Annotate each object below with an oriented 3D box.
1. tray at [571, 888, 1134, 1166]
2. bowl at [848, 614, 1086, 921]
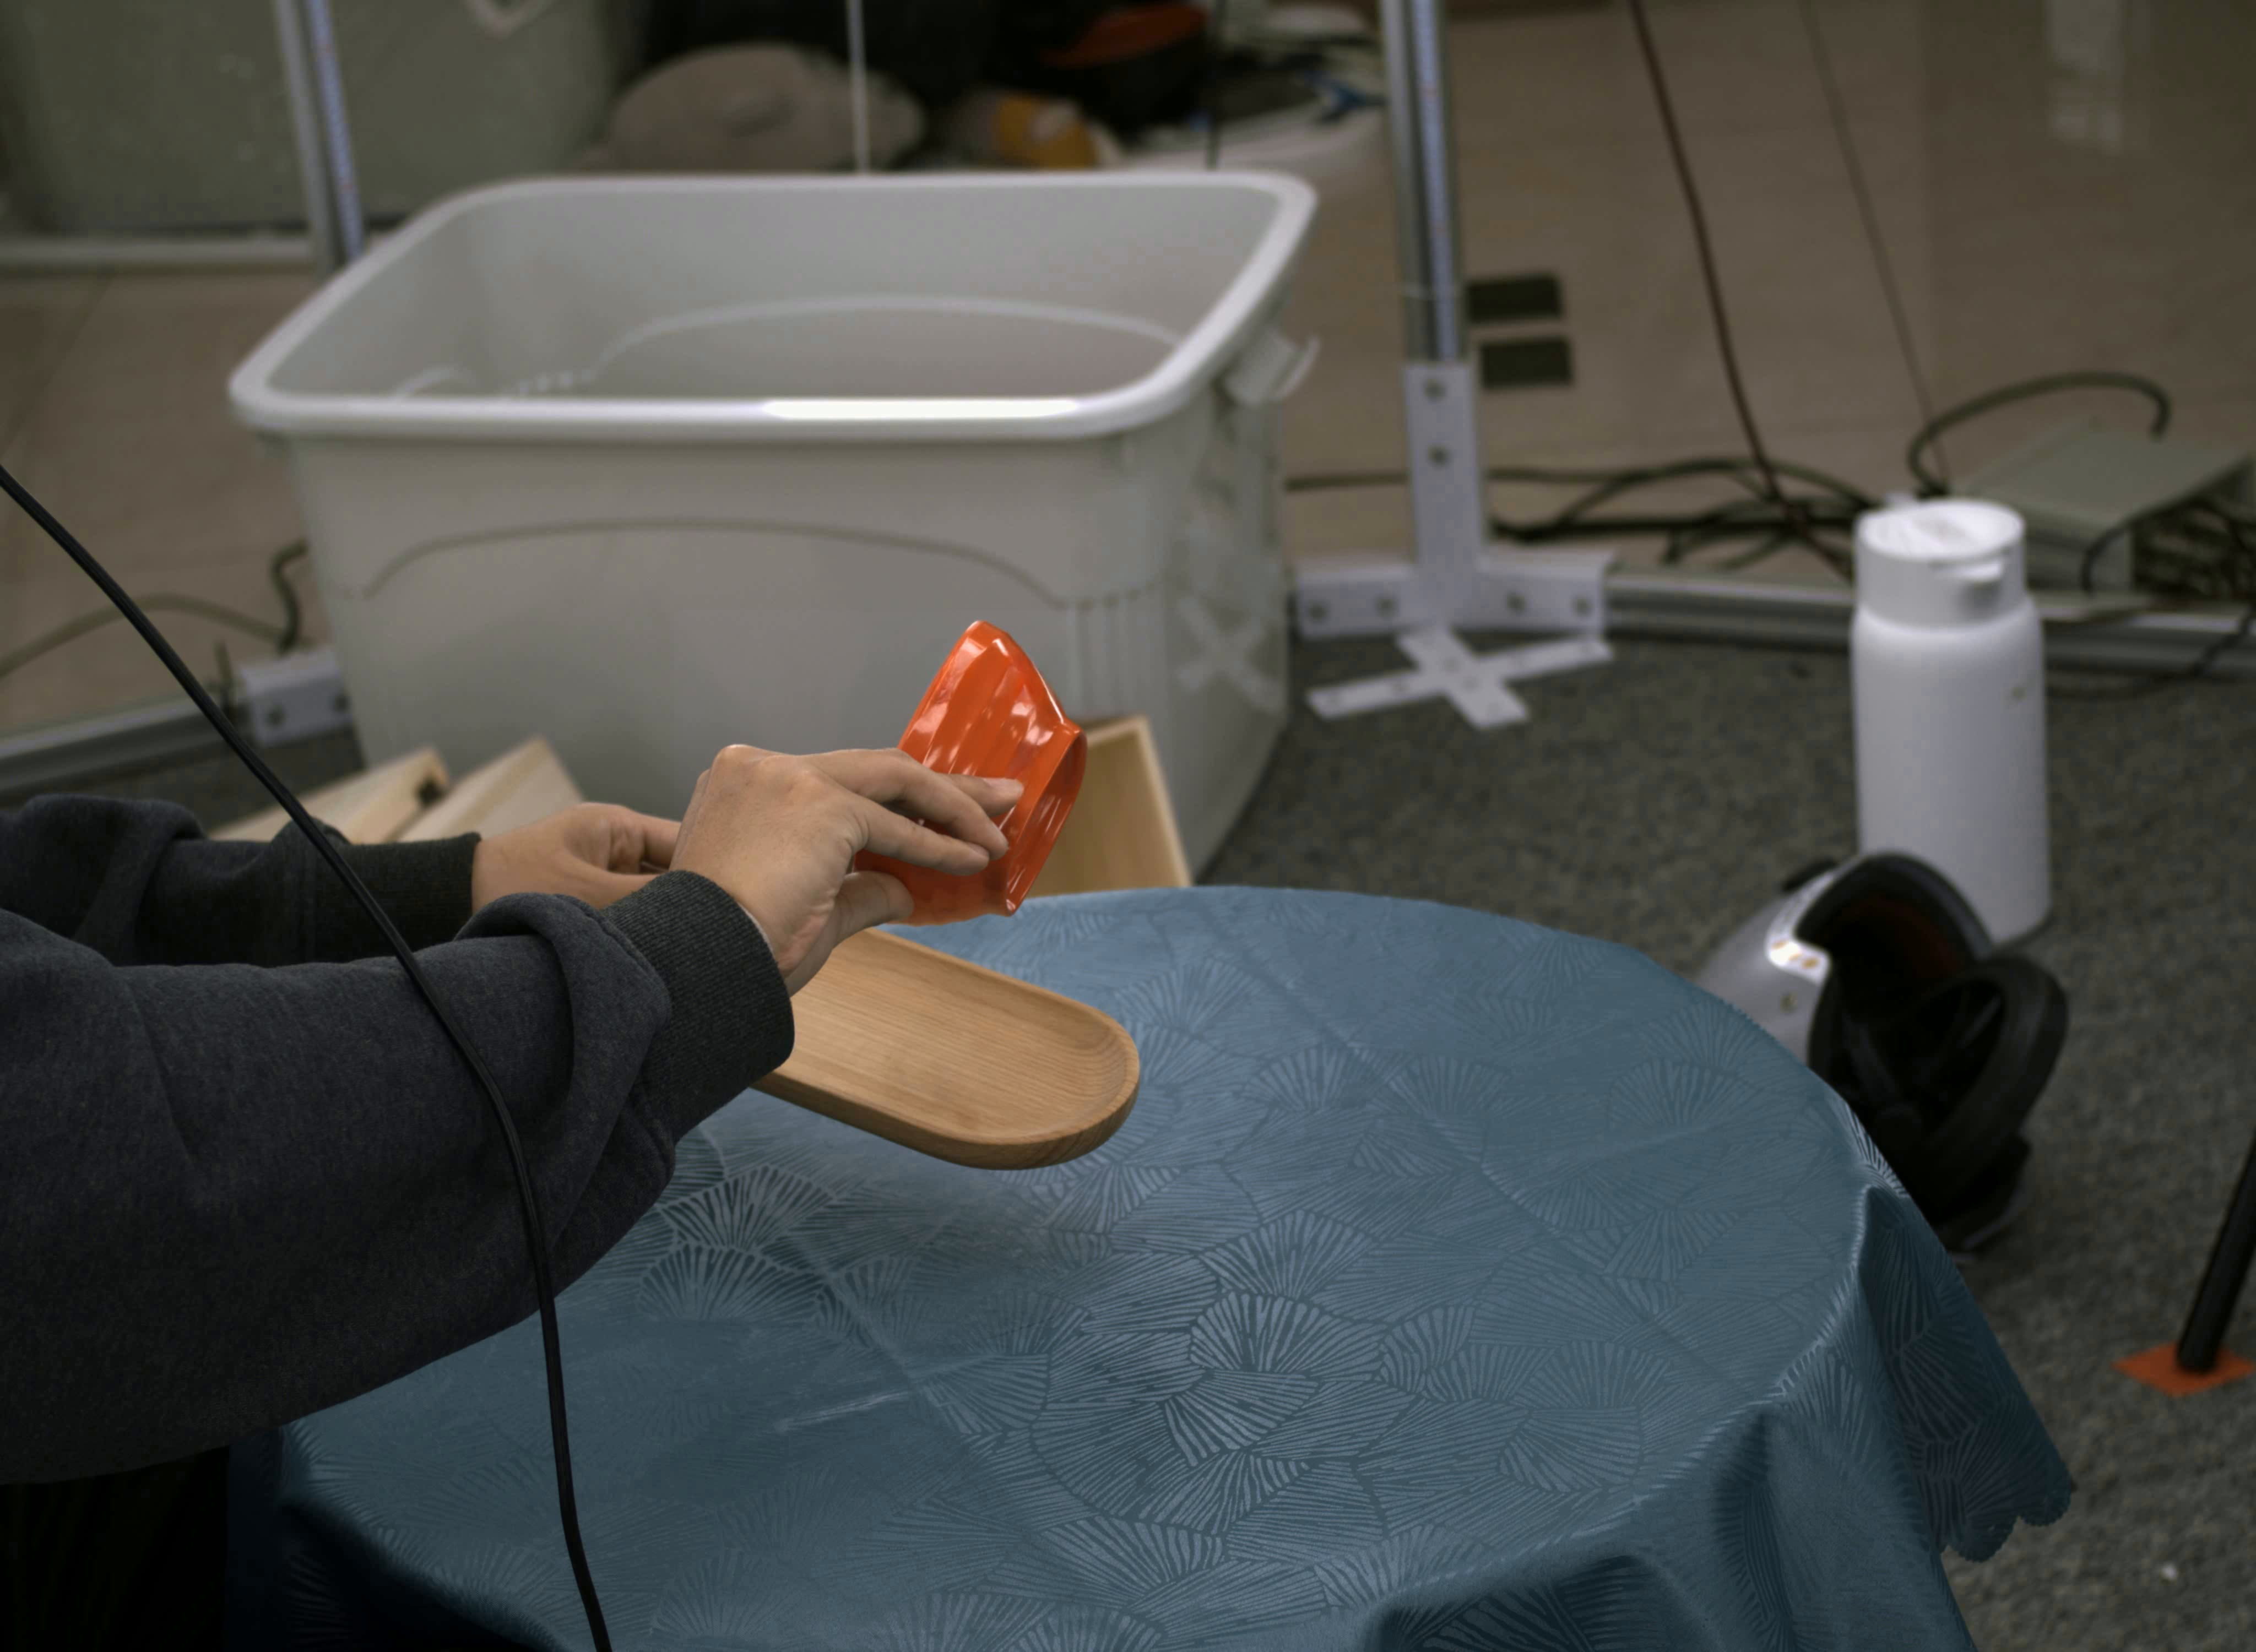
[{"bbox_3d":[-0.104,0.074,2.117,0.230,0.021,0.100,17,35,26],"label":"tray"},{"bbox_3d":[-0.052,-0.012,2.007,0.051,0.121,0.117,26,32,8],"label":"bowl"}]
